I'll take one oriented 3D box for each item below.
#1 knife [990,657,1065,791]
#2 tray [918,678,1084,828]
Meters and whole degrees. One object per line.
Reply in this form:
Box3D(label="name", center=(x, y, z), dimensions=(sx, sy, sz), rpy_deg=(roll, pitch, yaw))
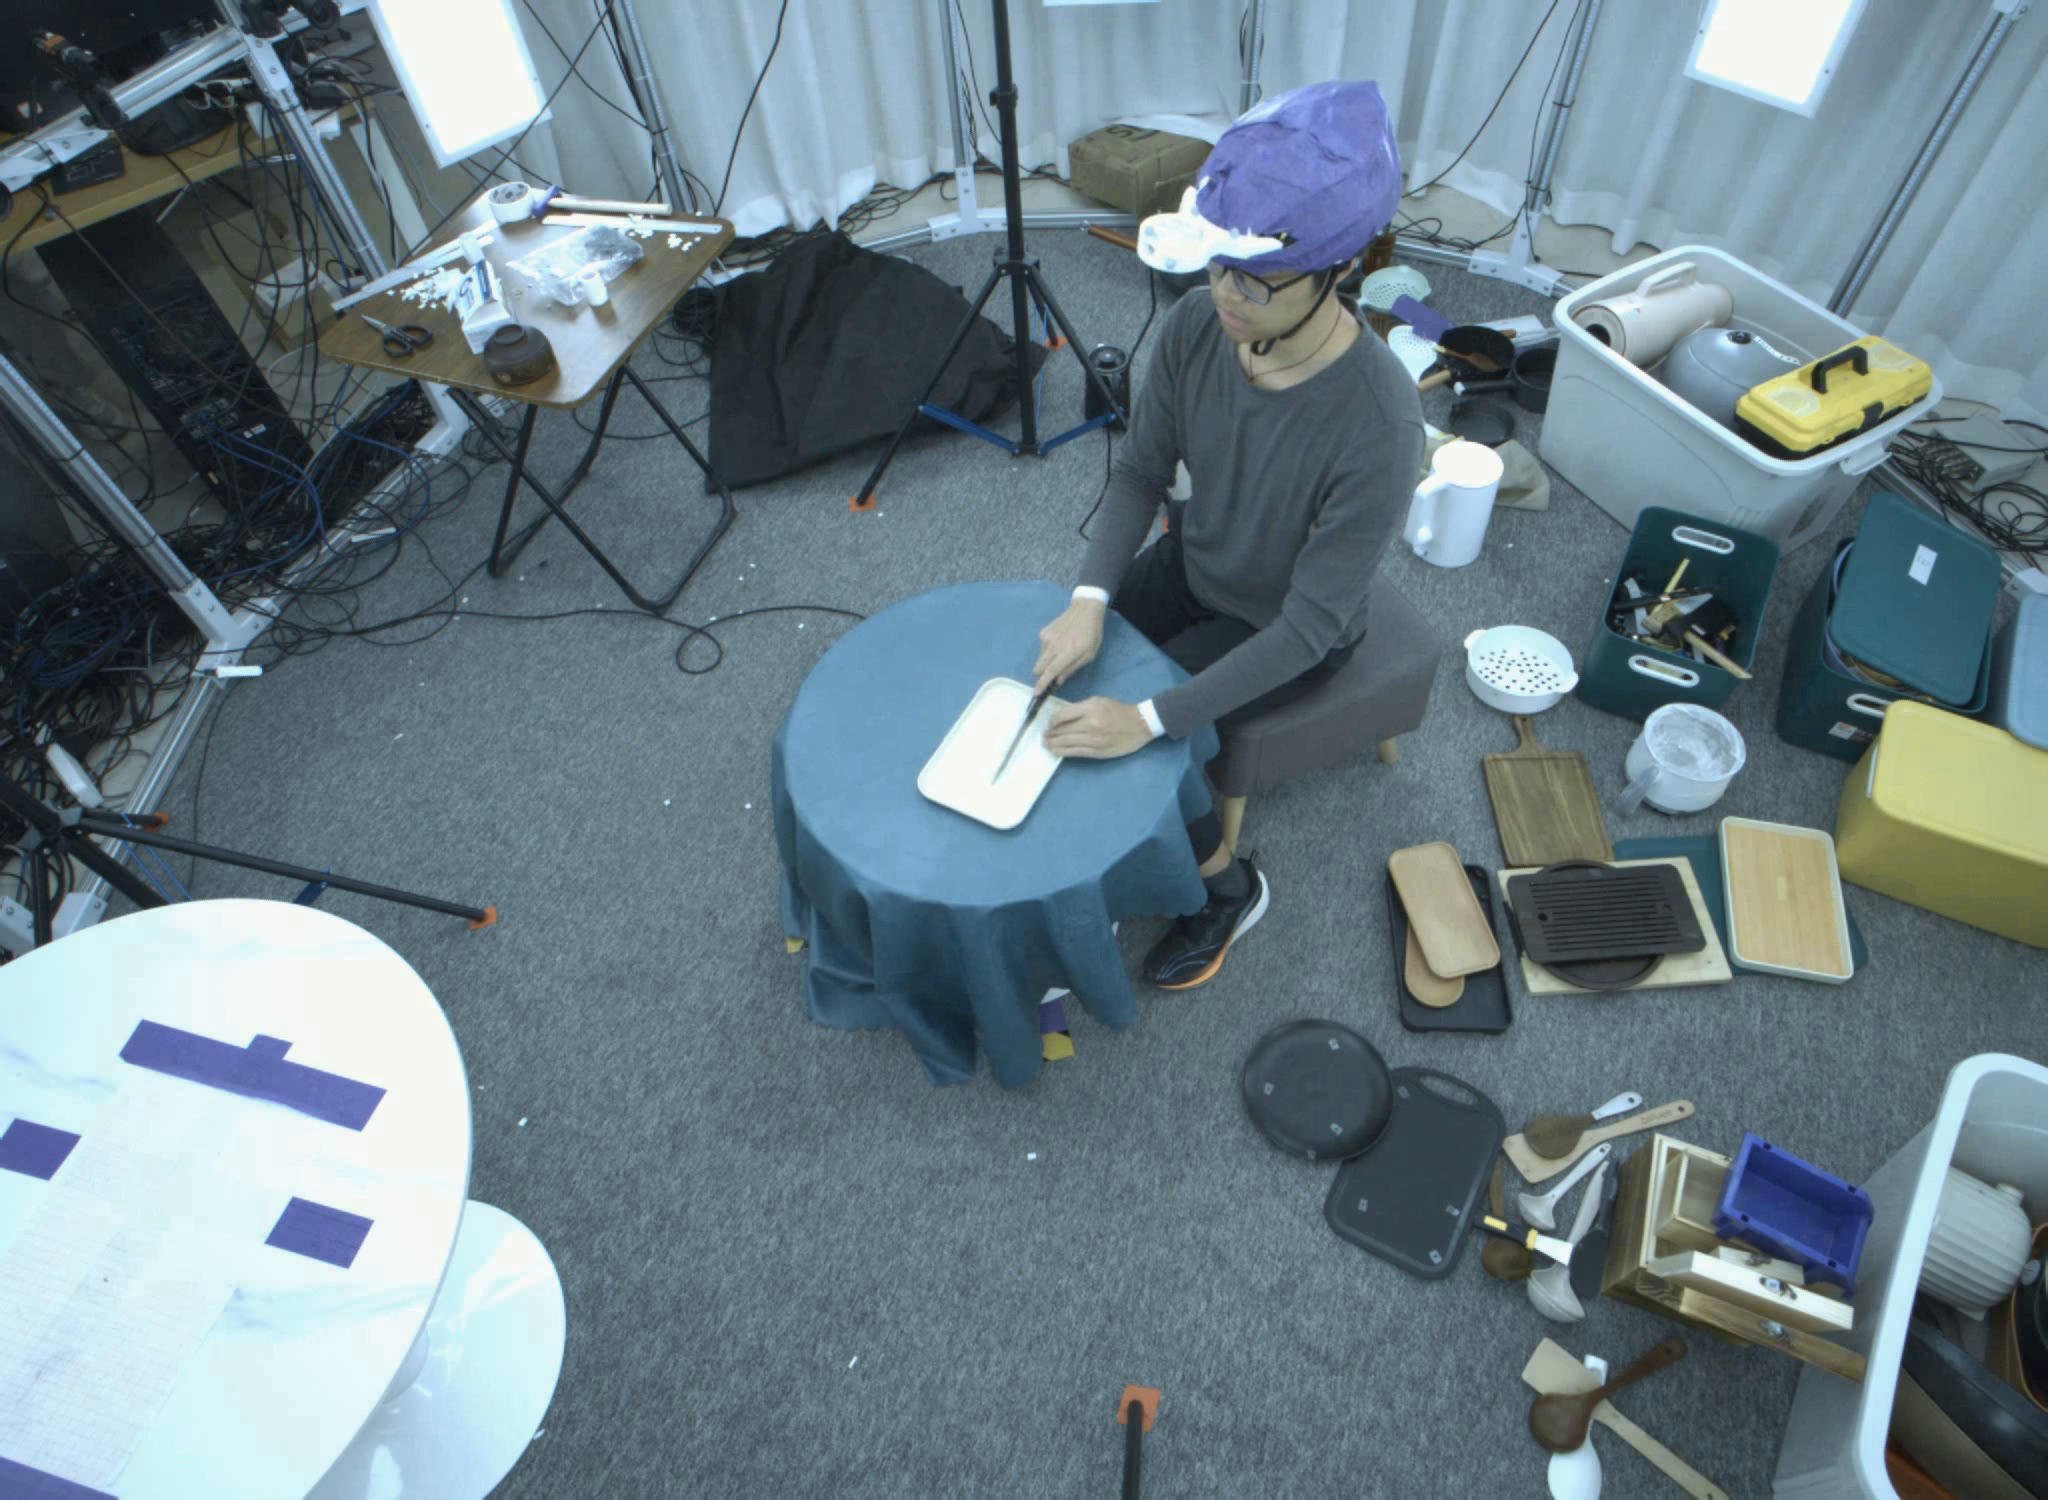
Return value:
Box3D(label="knife", center=(0.003, -0.042, 1.793), dimensions=(0.016, 0.025, 0.238), rpy_deg=(18, 67, 24))
Box3D(label="tray", center=(-0.031, 0.002, 1.783), dimensions=(0.169, 0.017, 0.240), rpy_deg=(23, 58, 18))
